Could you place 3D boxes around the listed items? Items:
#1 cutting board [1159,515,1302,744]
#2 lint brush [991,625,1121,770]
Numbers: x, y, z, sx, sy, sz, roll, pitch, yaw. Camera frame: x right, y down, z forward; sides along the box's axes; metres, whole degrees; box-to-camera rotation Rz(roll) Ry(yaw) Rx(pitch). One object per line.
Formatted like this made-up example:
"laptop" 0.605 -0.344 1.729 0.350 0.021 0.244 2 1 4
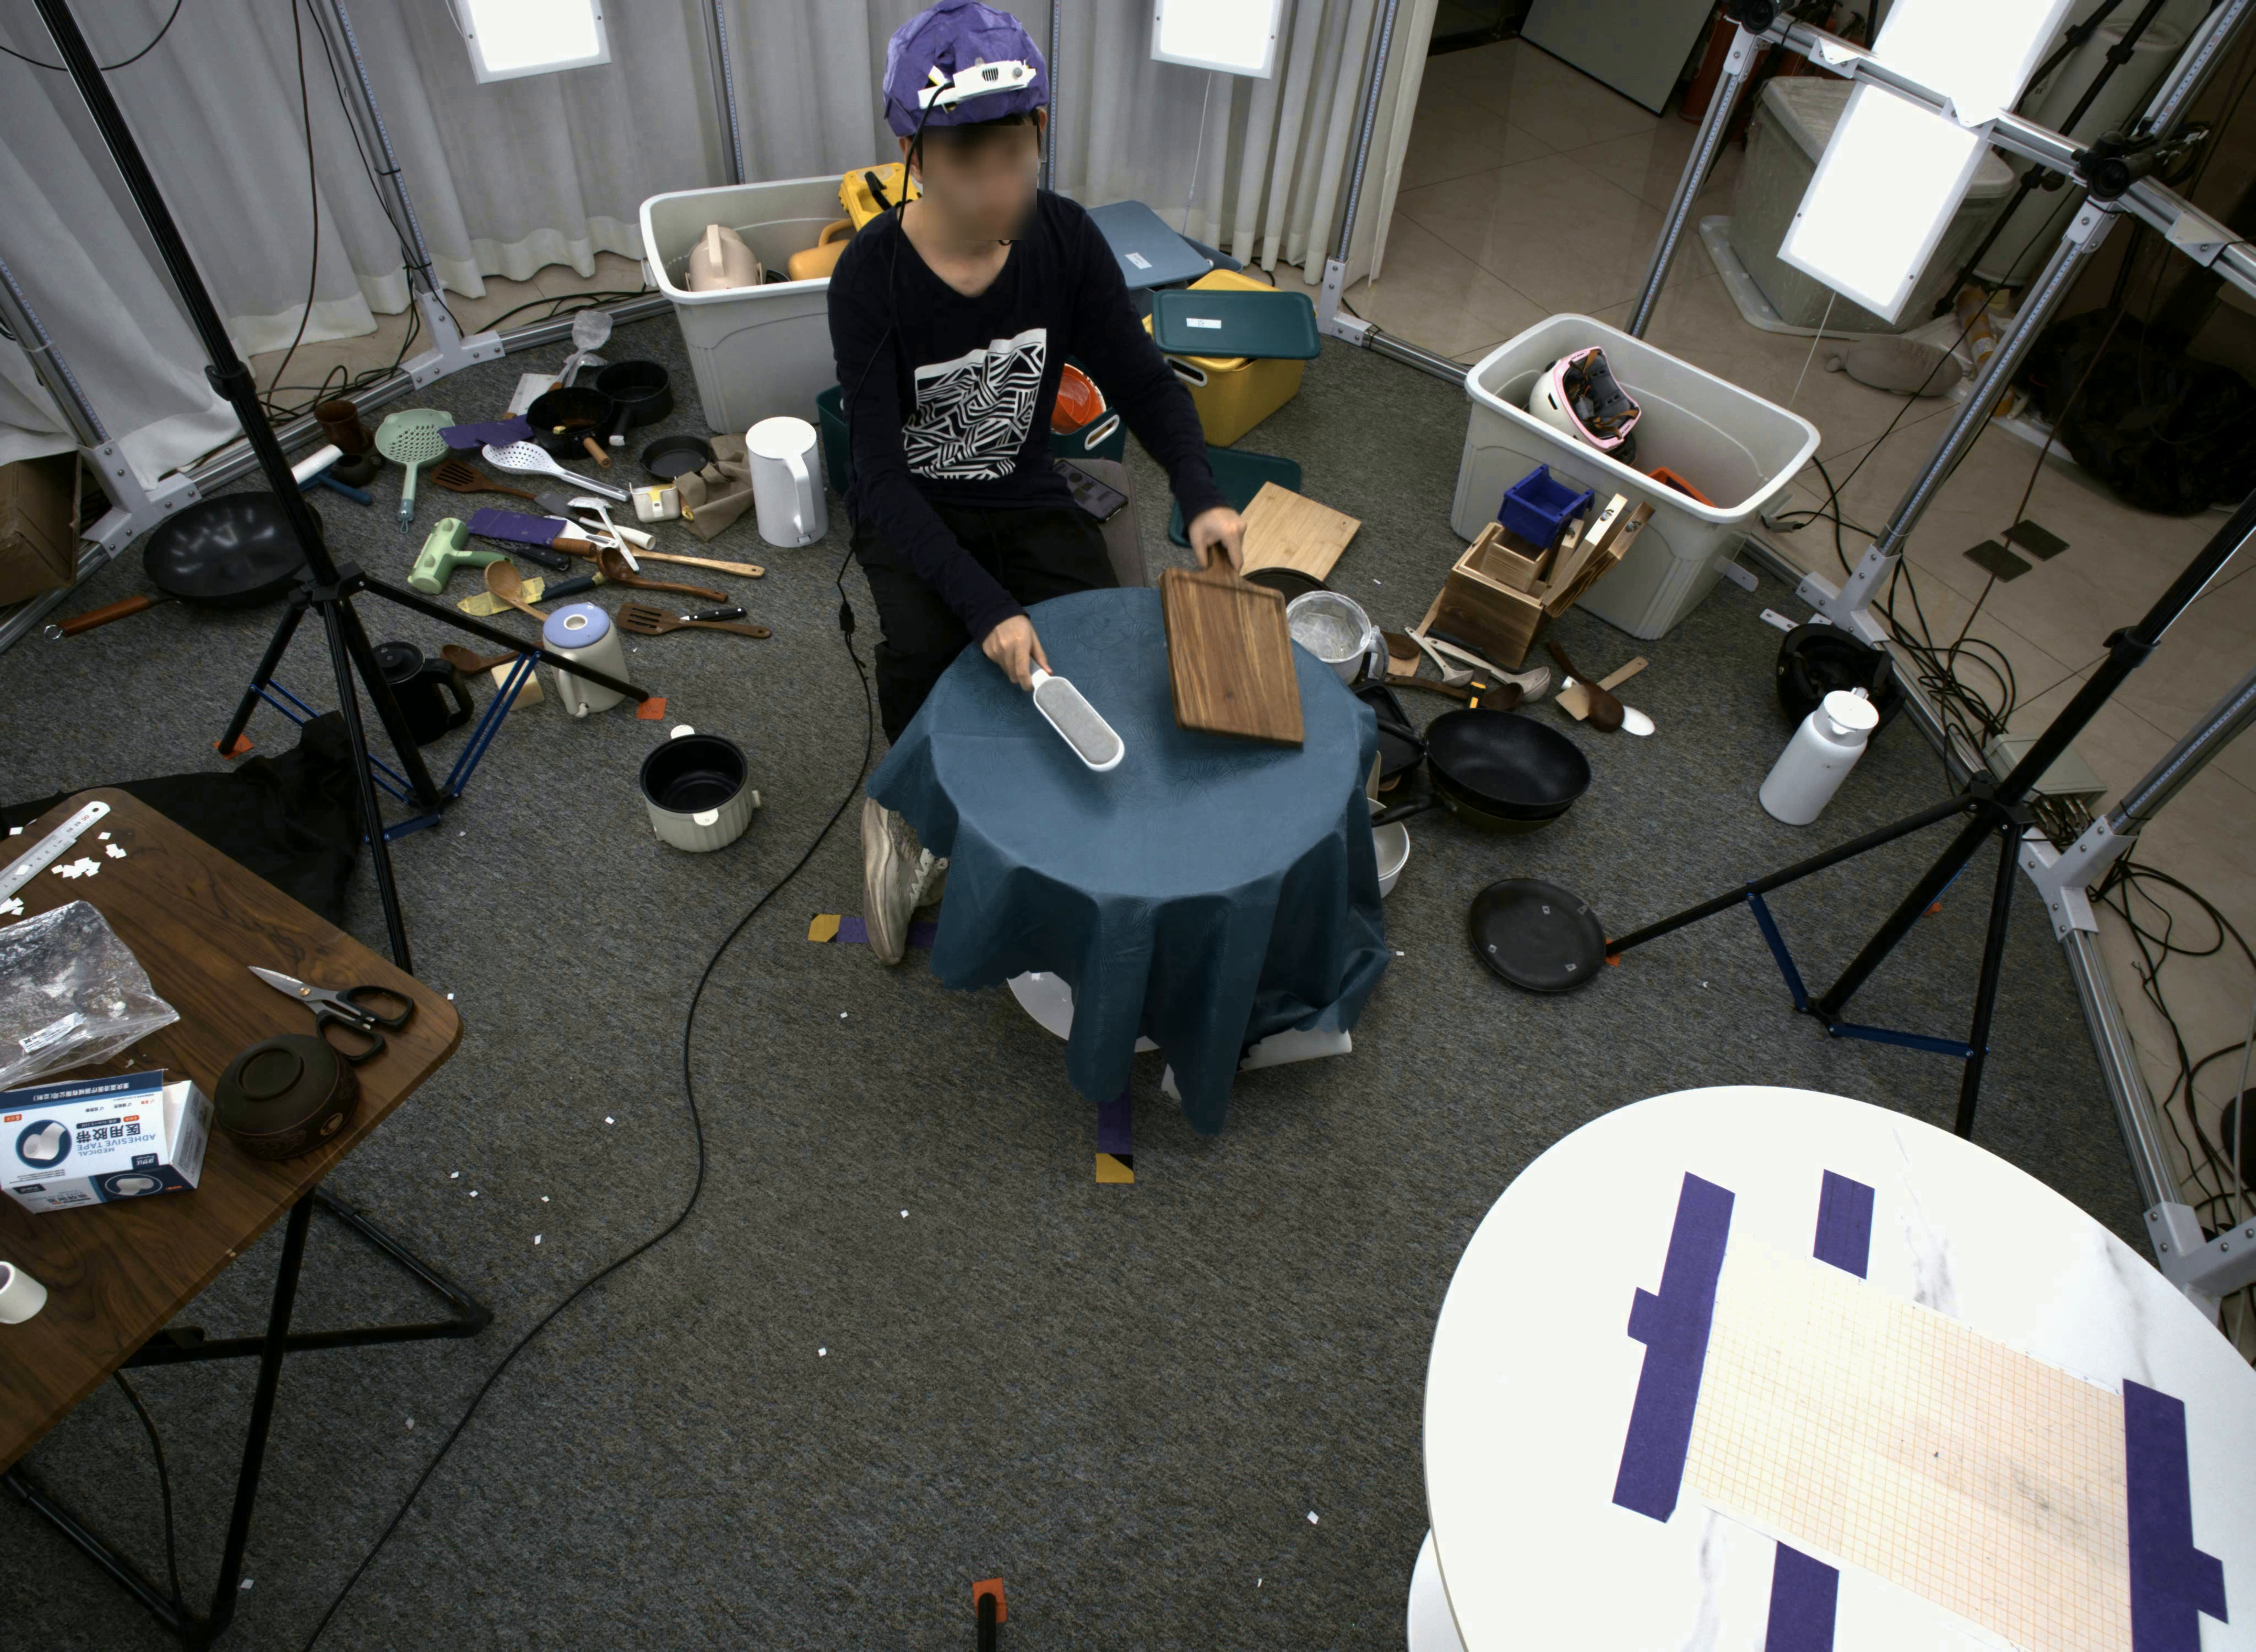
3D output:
"cutting board" 0.140 -0.287 1.809 0.200 0.023 0.359 8 62 -24
"lint brush" -0.104 -0.183 1.746 0.060 0.020 0.315 -40 56 -1
